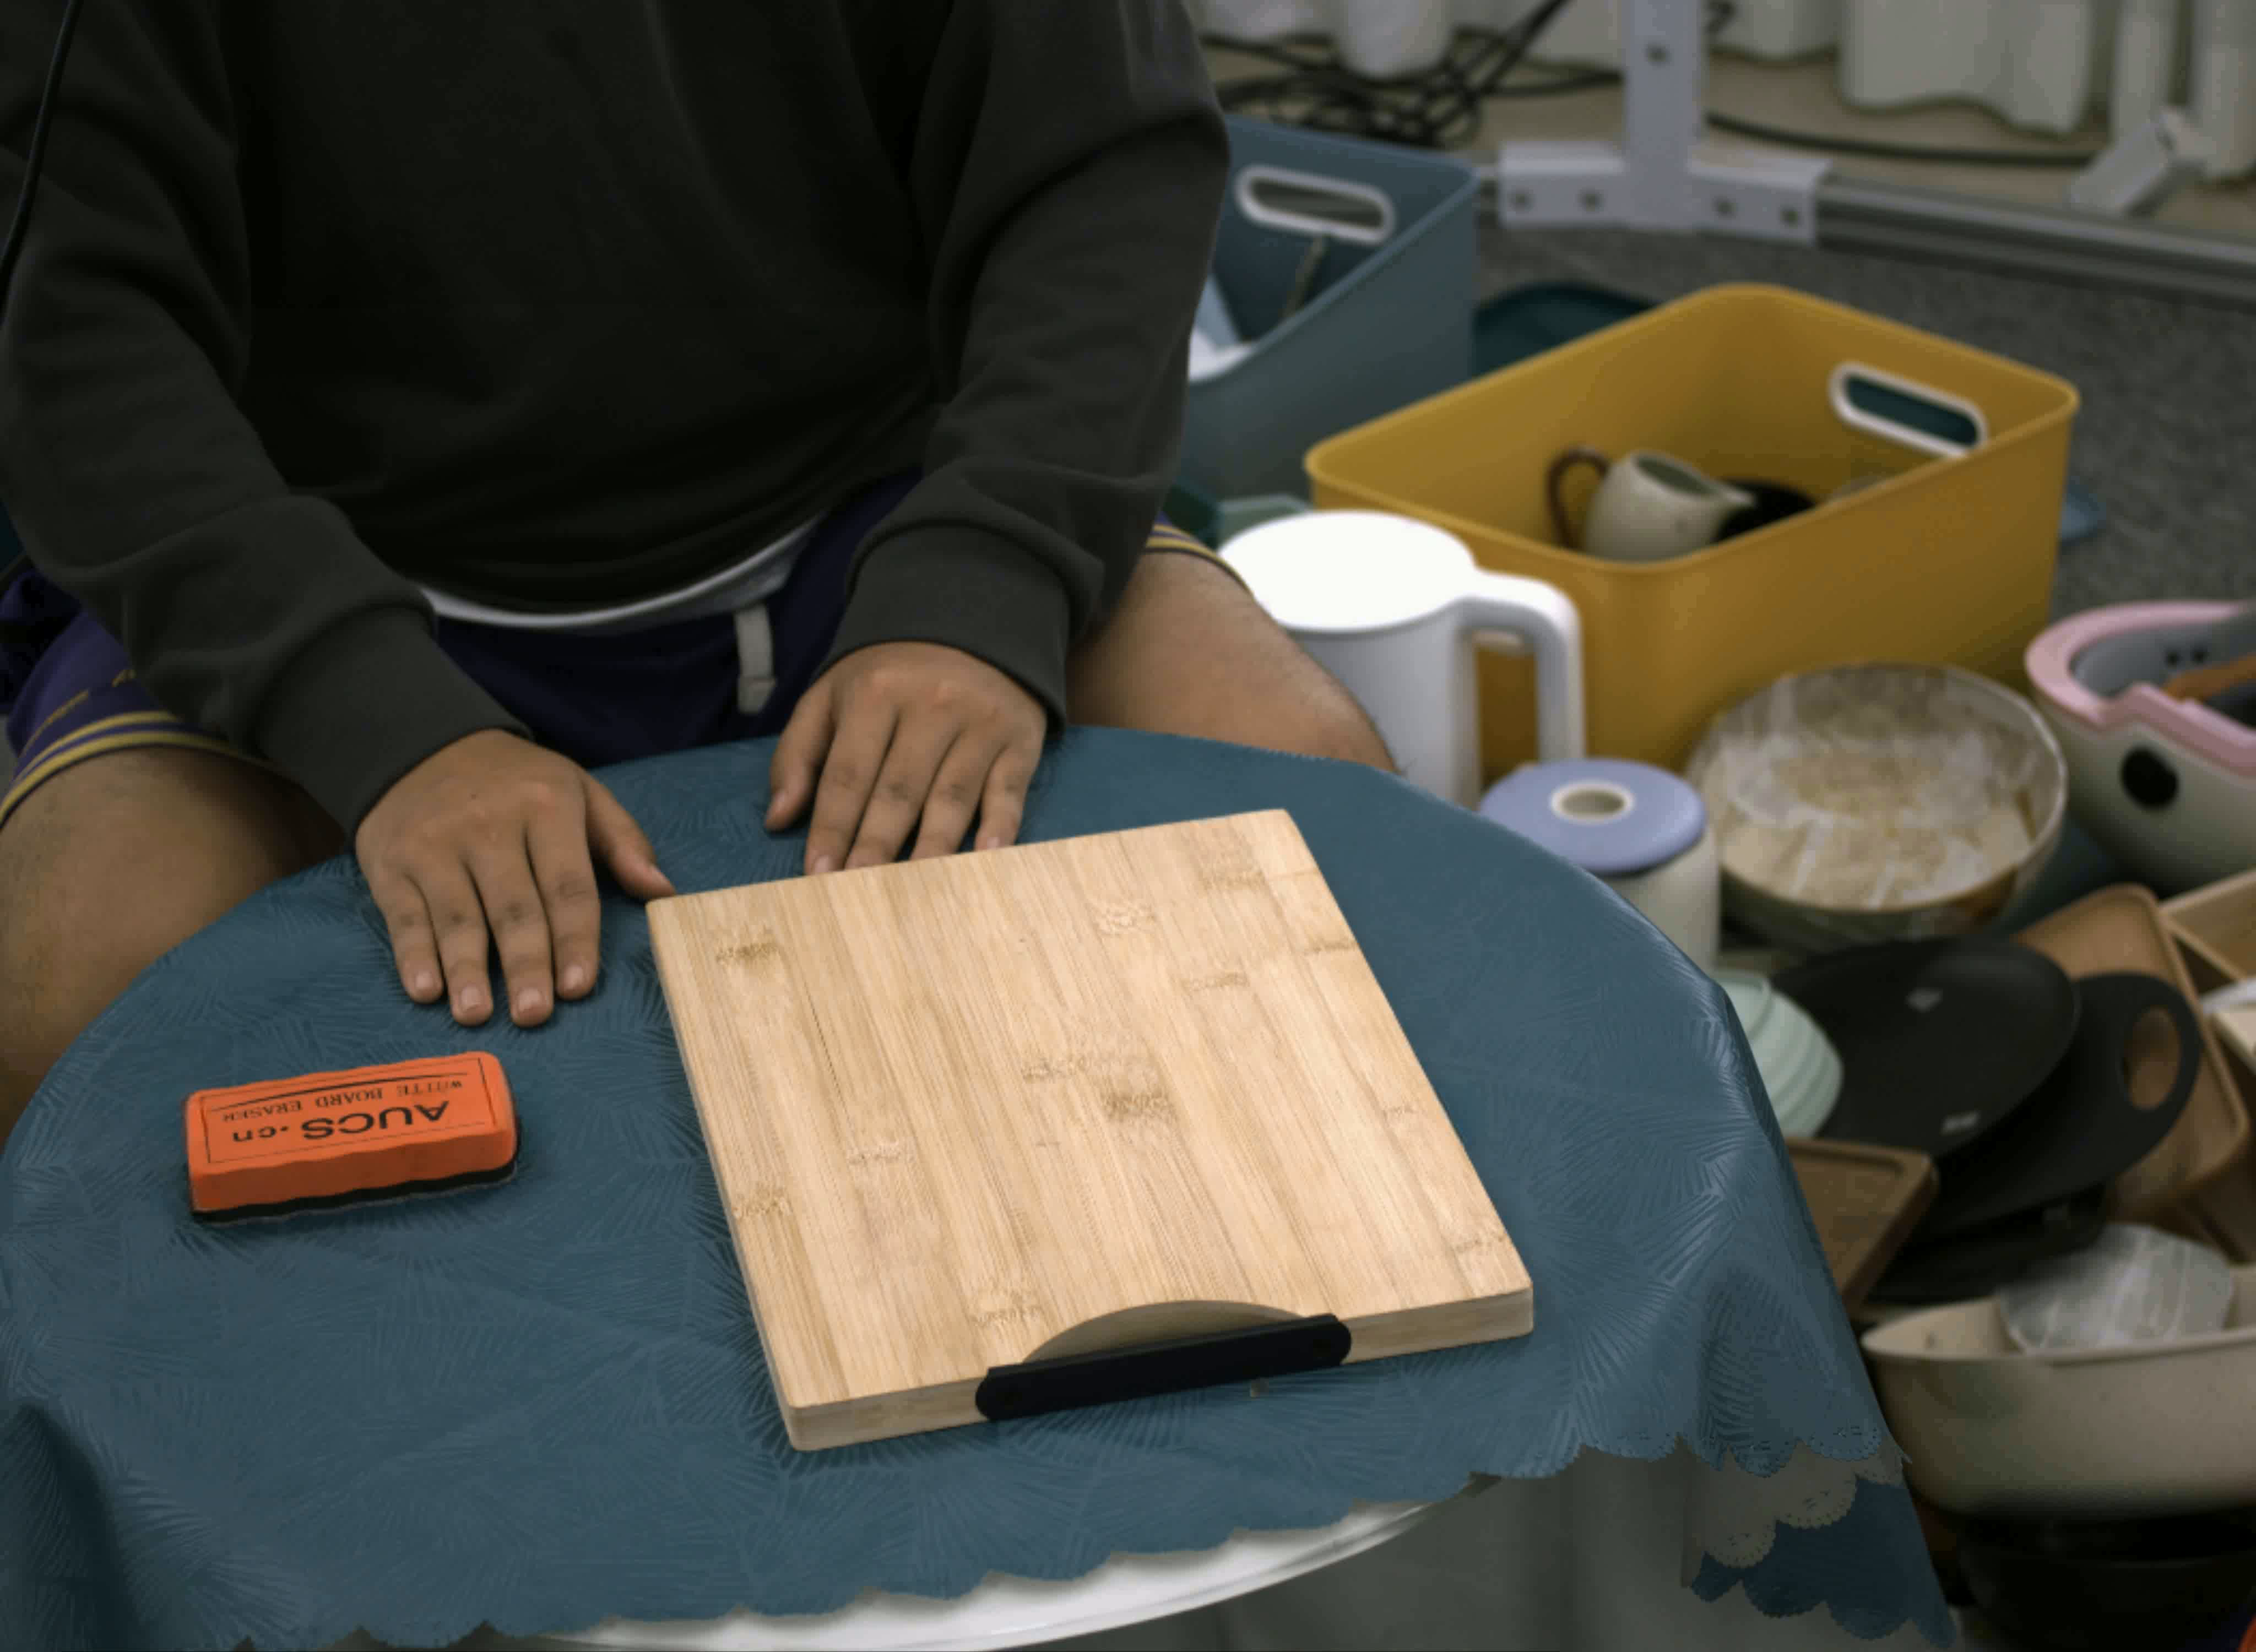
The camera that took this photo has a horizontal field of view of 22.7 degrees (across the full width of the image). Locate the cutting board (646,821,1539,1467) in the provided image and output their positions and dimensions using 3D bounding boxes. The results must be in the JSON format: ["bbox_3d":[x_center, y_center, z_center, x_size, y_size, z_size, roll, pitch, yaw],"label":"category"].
[{"bbox_3d":[-0.022,0.097,1.894,0.250,0.023,0.352,-9,28,-10],"label":"cutting board"}]

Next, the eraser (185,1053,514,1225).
[{"bbox_3d":[-0.262,0.106,1.892,0.108,0.022,0.060,-7,28,-9],"label":"eraser"}]
